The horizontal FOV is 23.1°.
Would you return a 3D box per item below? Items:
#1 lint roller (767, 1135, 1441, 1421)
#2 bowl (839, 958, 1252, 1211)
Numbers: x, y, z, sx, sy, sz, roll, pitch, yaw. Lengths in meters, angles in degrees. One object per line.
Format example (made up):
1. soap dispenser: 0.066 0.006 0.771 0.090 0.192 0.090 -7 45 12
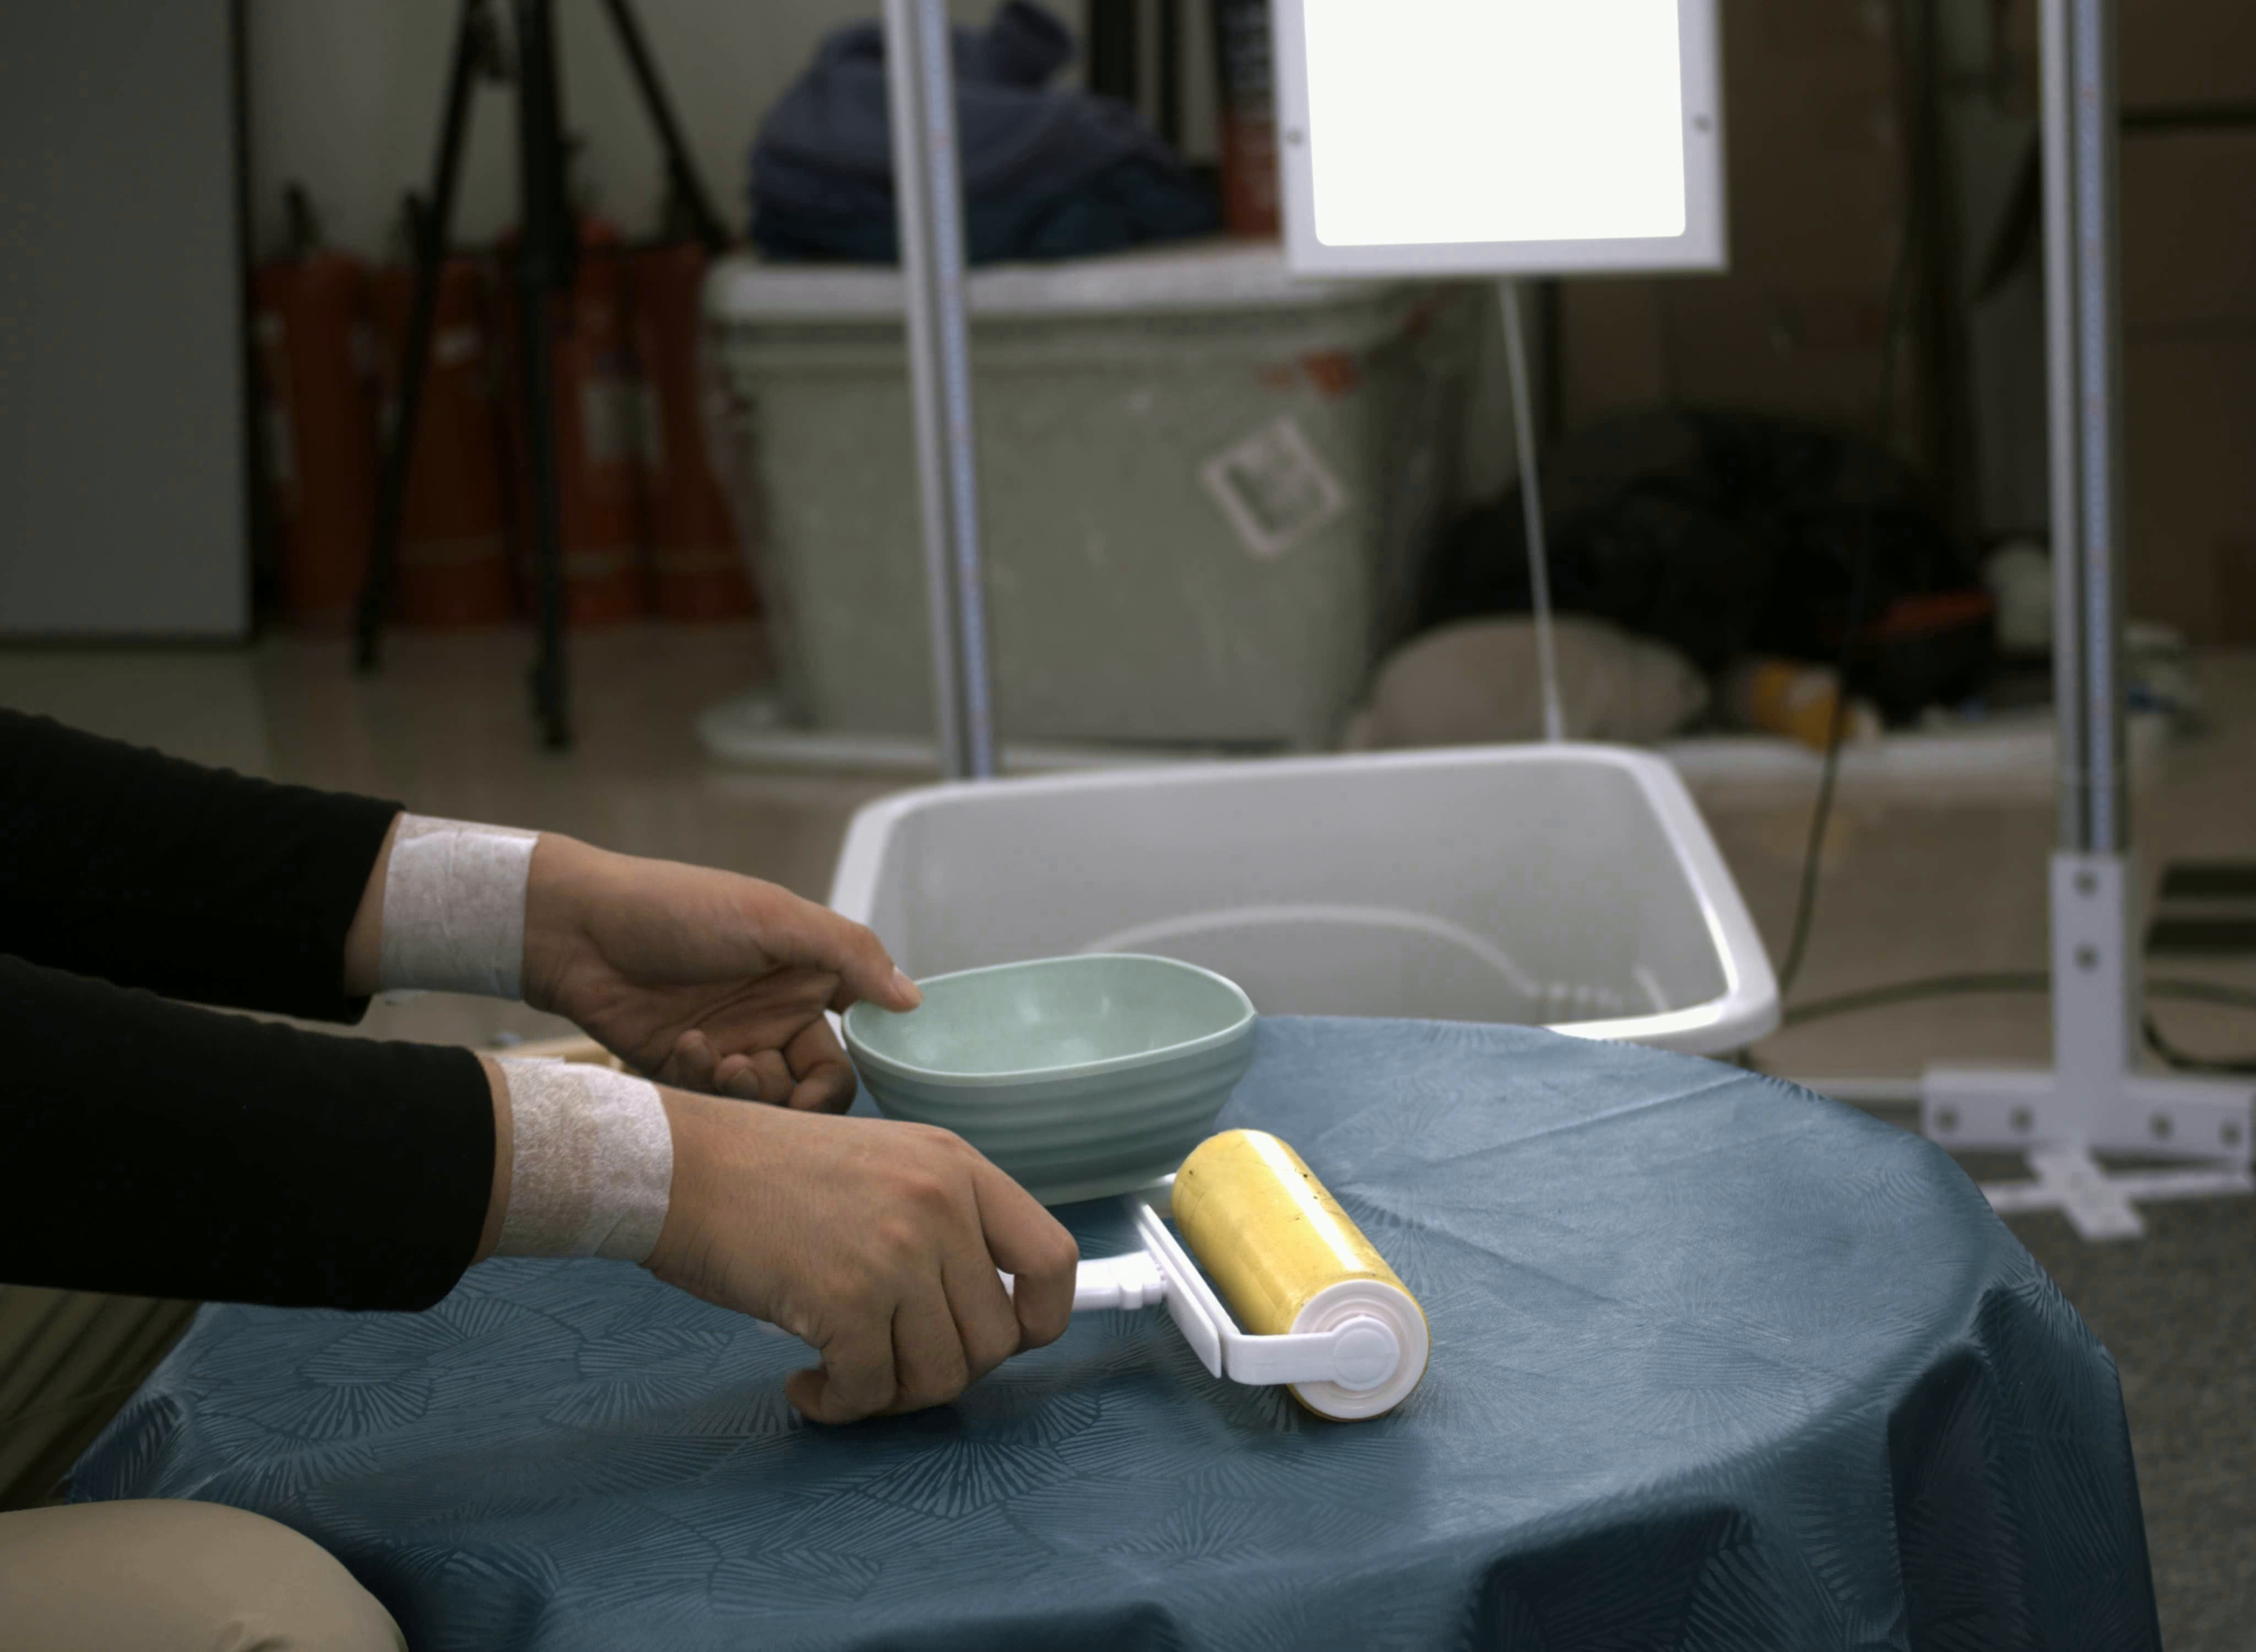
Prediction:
1. lint roller: -0.016 0.136 1.712 0.189 0.052 0.175 5 11 -13
2. bowl: -0.028 0.093 1.926 0.151 0.059 0.151 -3 14 -1
